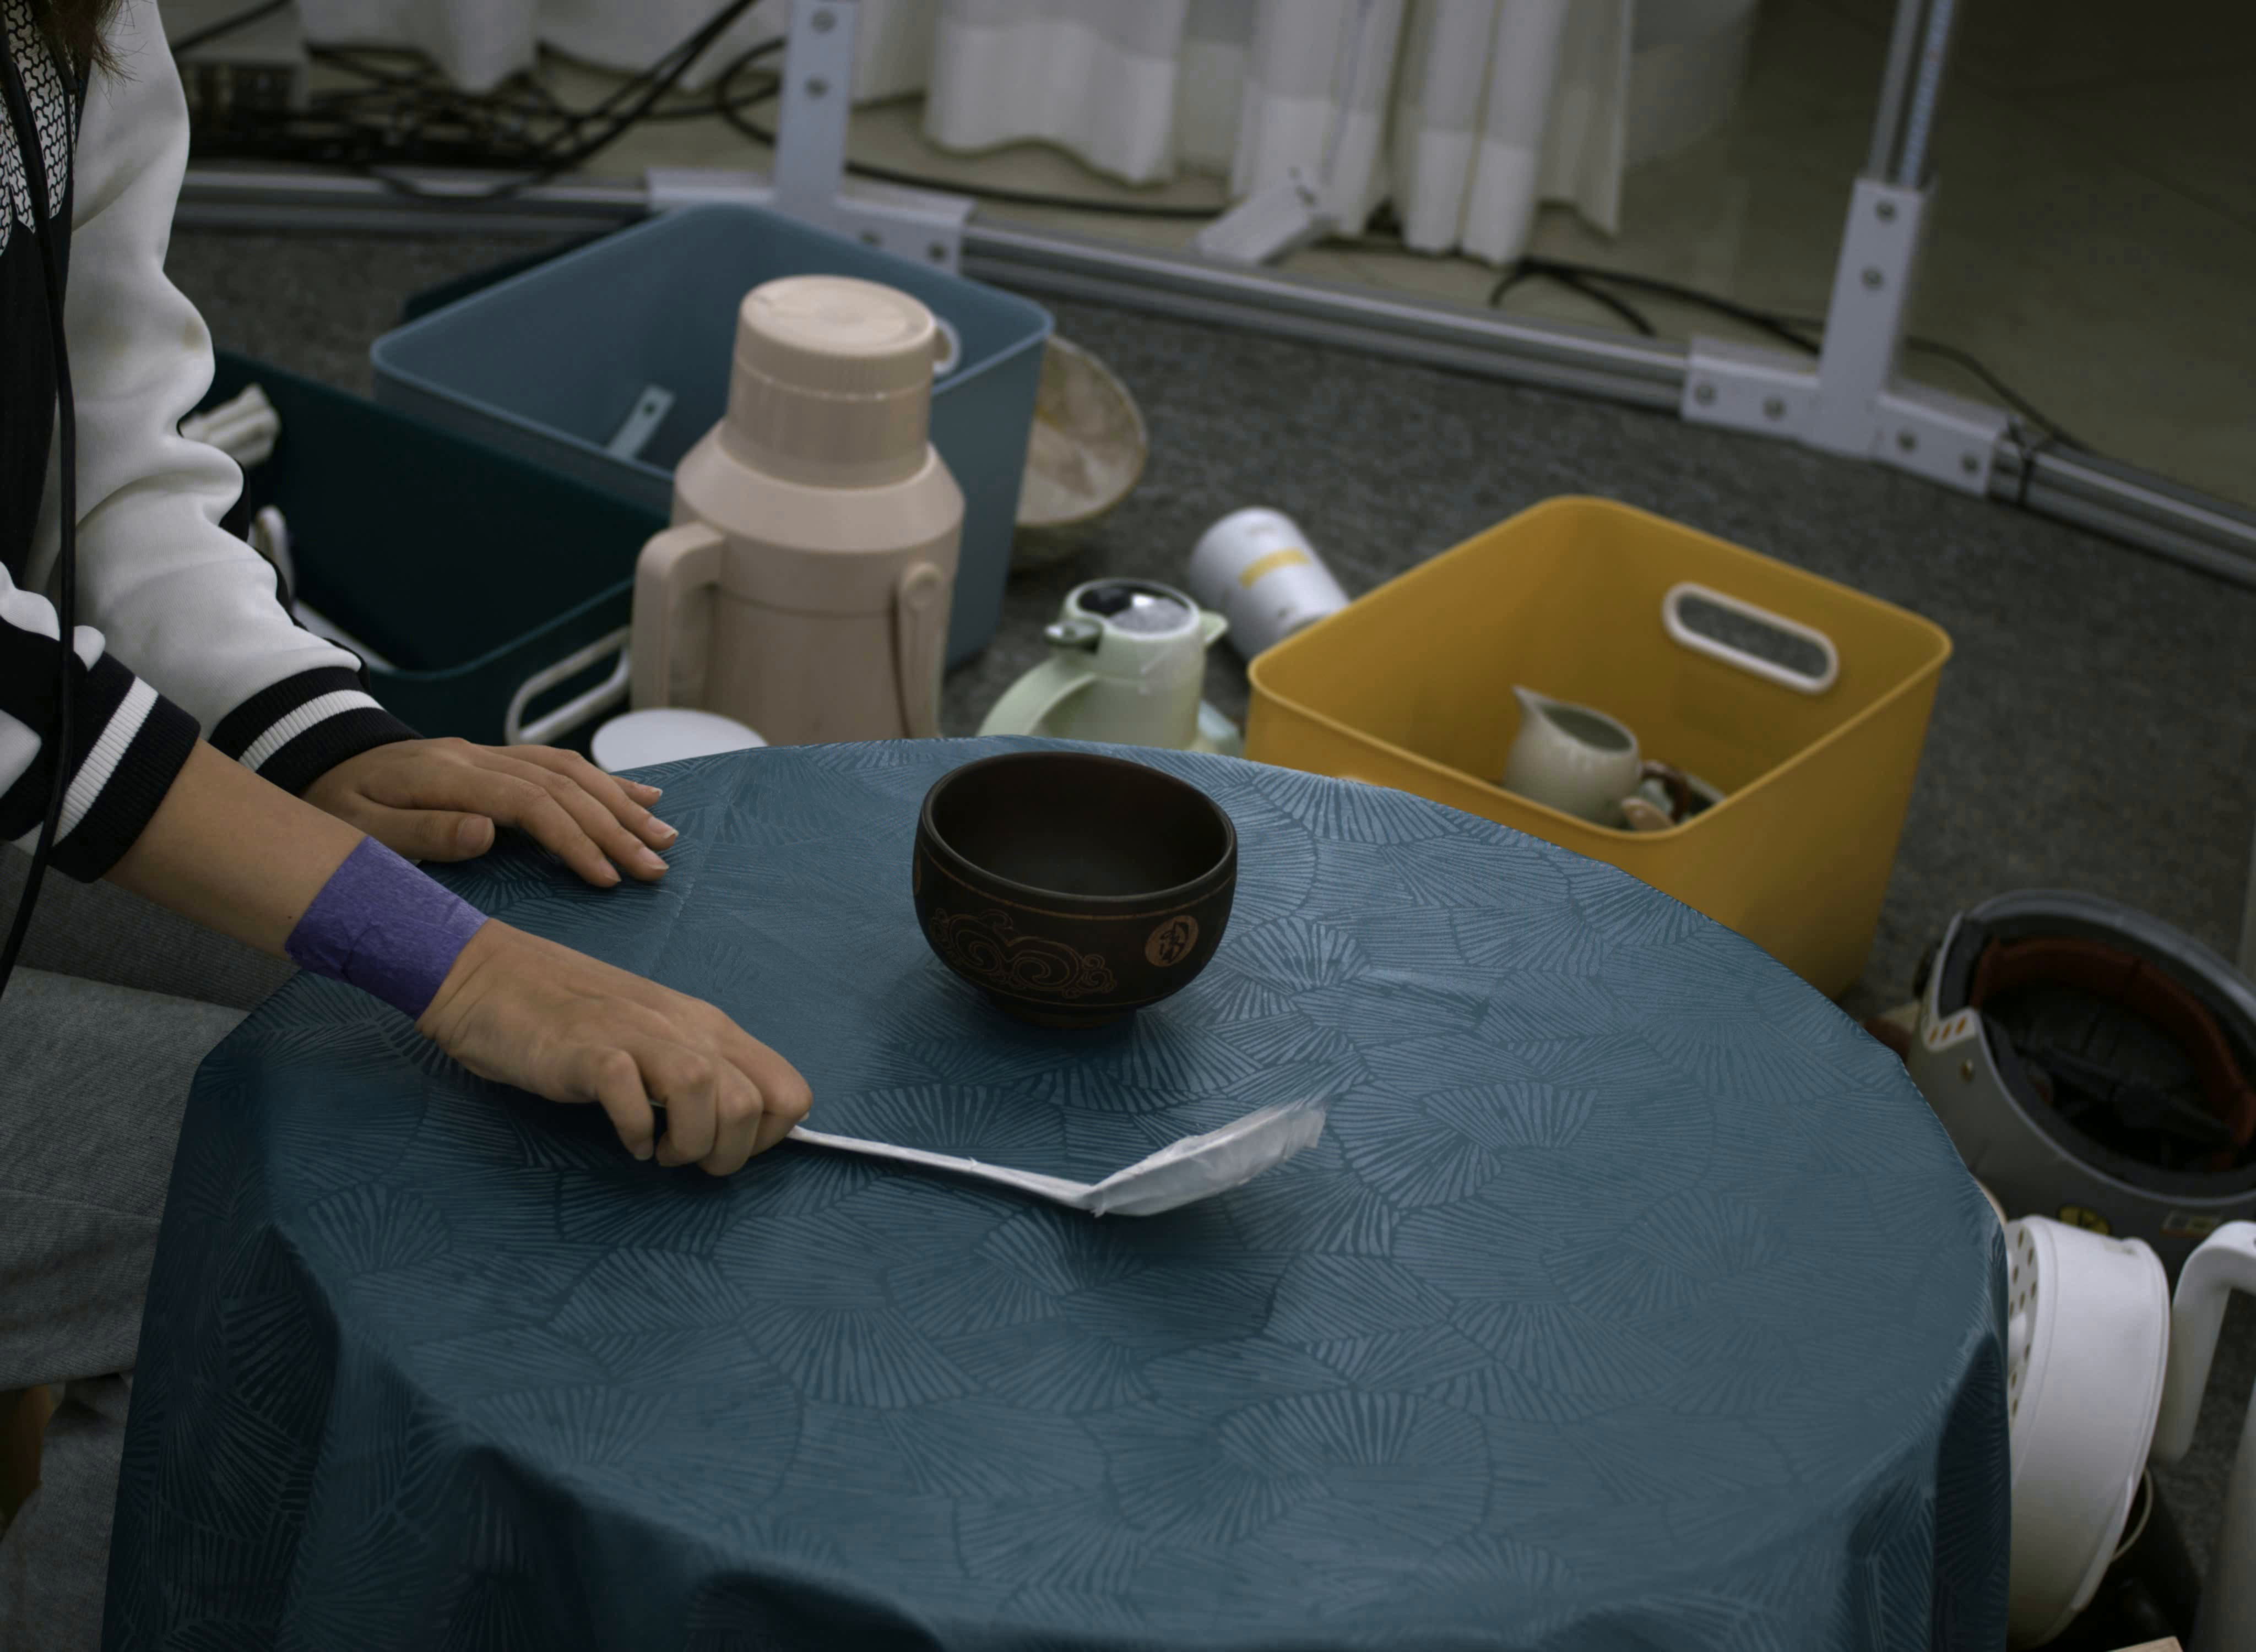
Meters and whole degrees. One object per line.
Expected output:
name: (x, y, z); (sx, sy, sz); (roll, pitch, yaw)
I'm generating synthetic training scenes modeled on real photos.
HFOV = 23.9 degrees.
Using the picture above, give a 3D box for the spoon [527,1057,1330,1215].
spoon: (-0.069, 0.086, 1.804); (0.278, 0.059, 0.100); (12, 2, 14)

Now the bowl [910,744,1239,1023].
bowl: (-0.021, 0.027, 1.906); (0.117, 0.069, 0.119); (5, 27, -3)
